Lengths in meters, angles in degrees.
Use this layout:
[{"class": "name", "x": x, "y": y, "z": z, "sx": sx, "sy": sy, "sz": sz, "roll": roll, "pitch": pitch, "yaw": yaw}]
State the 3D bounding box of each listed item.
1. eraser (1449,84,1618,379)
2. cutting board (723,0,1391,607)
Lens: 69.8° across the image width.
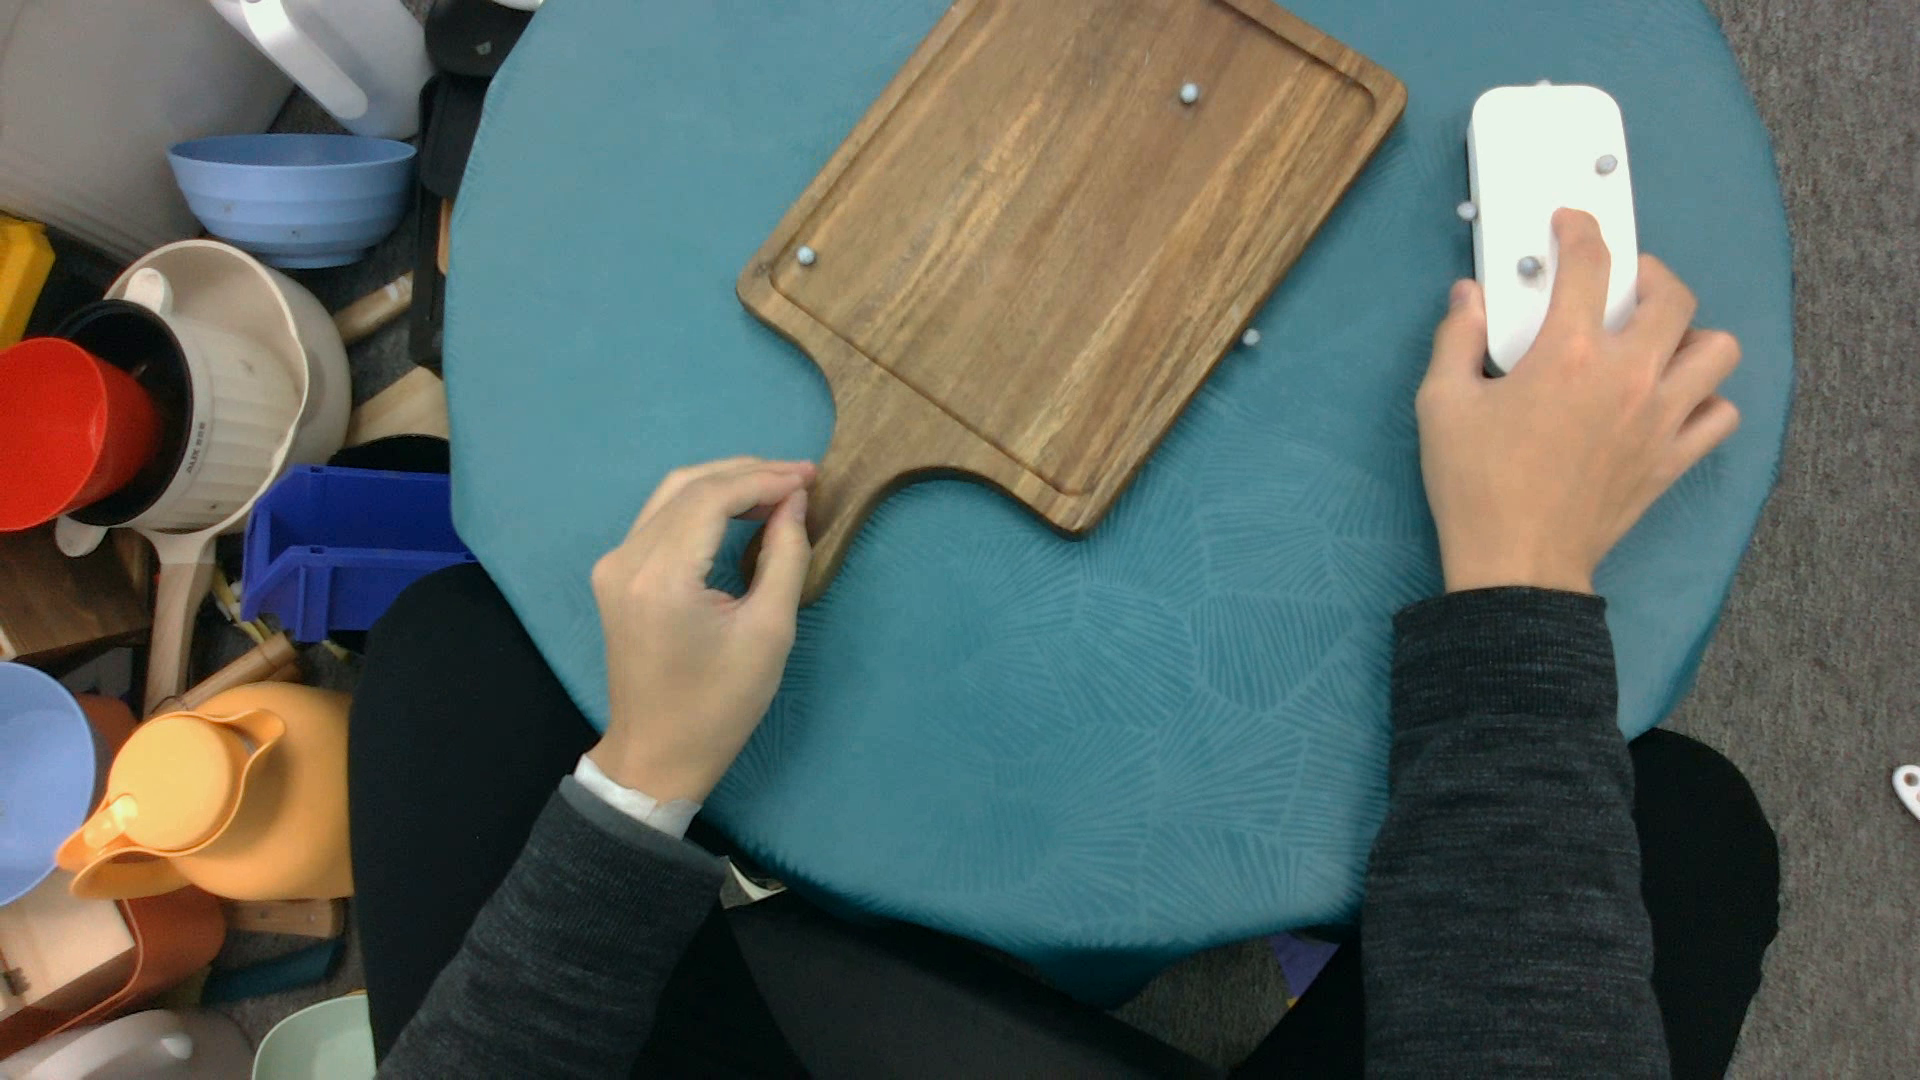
[{"class": "eraser", "x": 0.242, "y": -0.133, "z": 0.589, "sx": 0.063, "sy": 0.034, "sz": 0.131, "roll": 2, "pitch": 76, "yaw": 4}, {"class": "cutting board", "x": 0.014, "y": -0.118, "z": 0.610, "sx": 0.201, "sy": 0.023, "sz": 0.352, "roll": 35, "pitch": 83, "yaw": 11}]
